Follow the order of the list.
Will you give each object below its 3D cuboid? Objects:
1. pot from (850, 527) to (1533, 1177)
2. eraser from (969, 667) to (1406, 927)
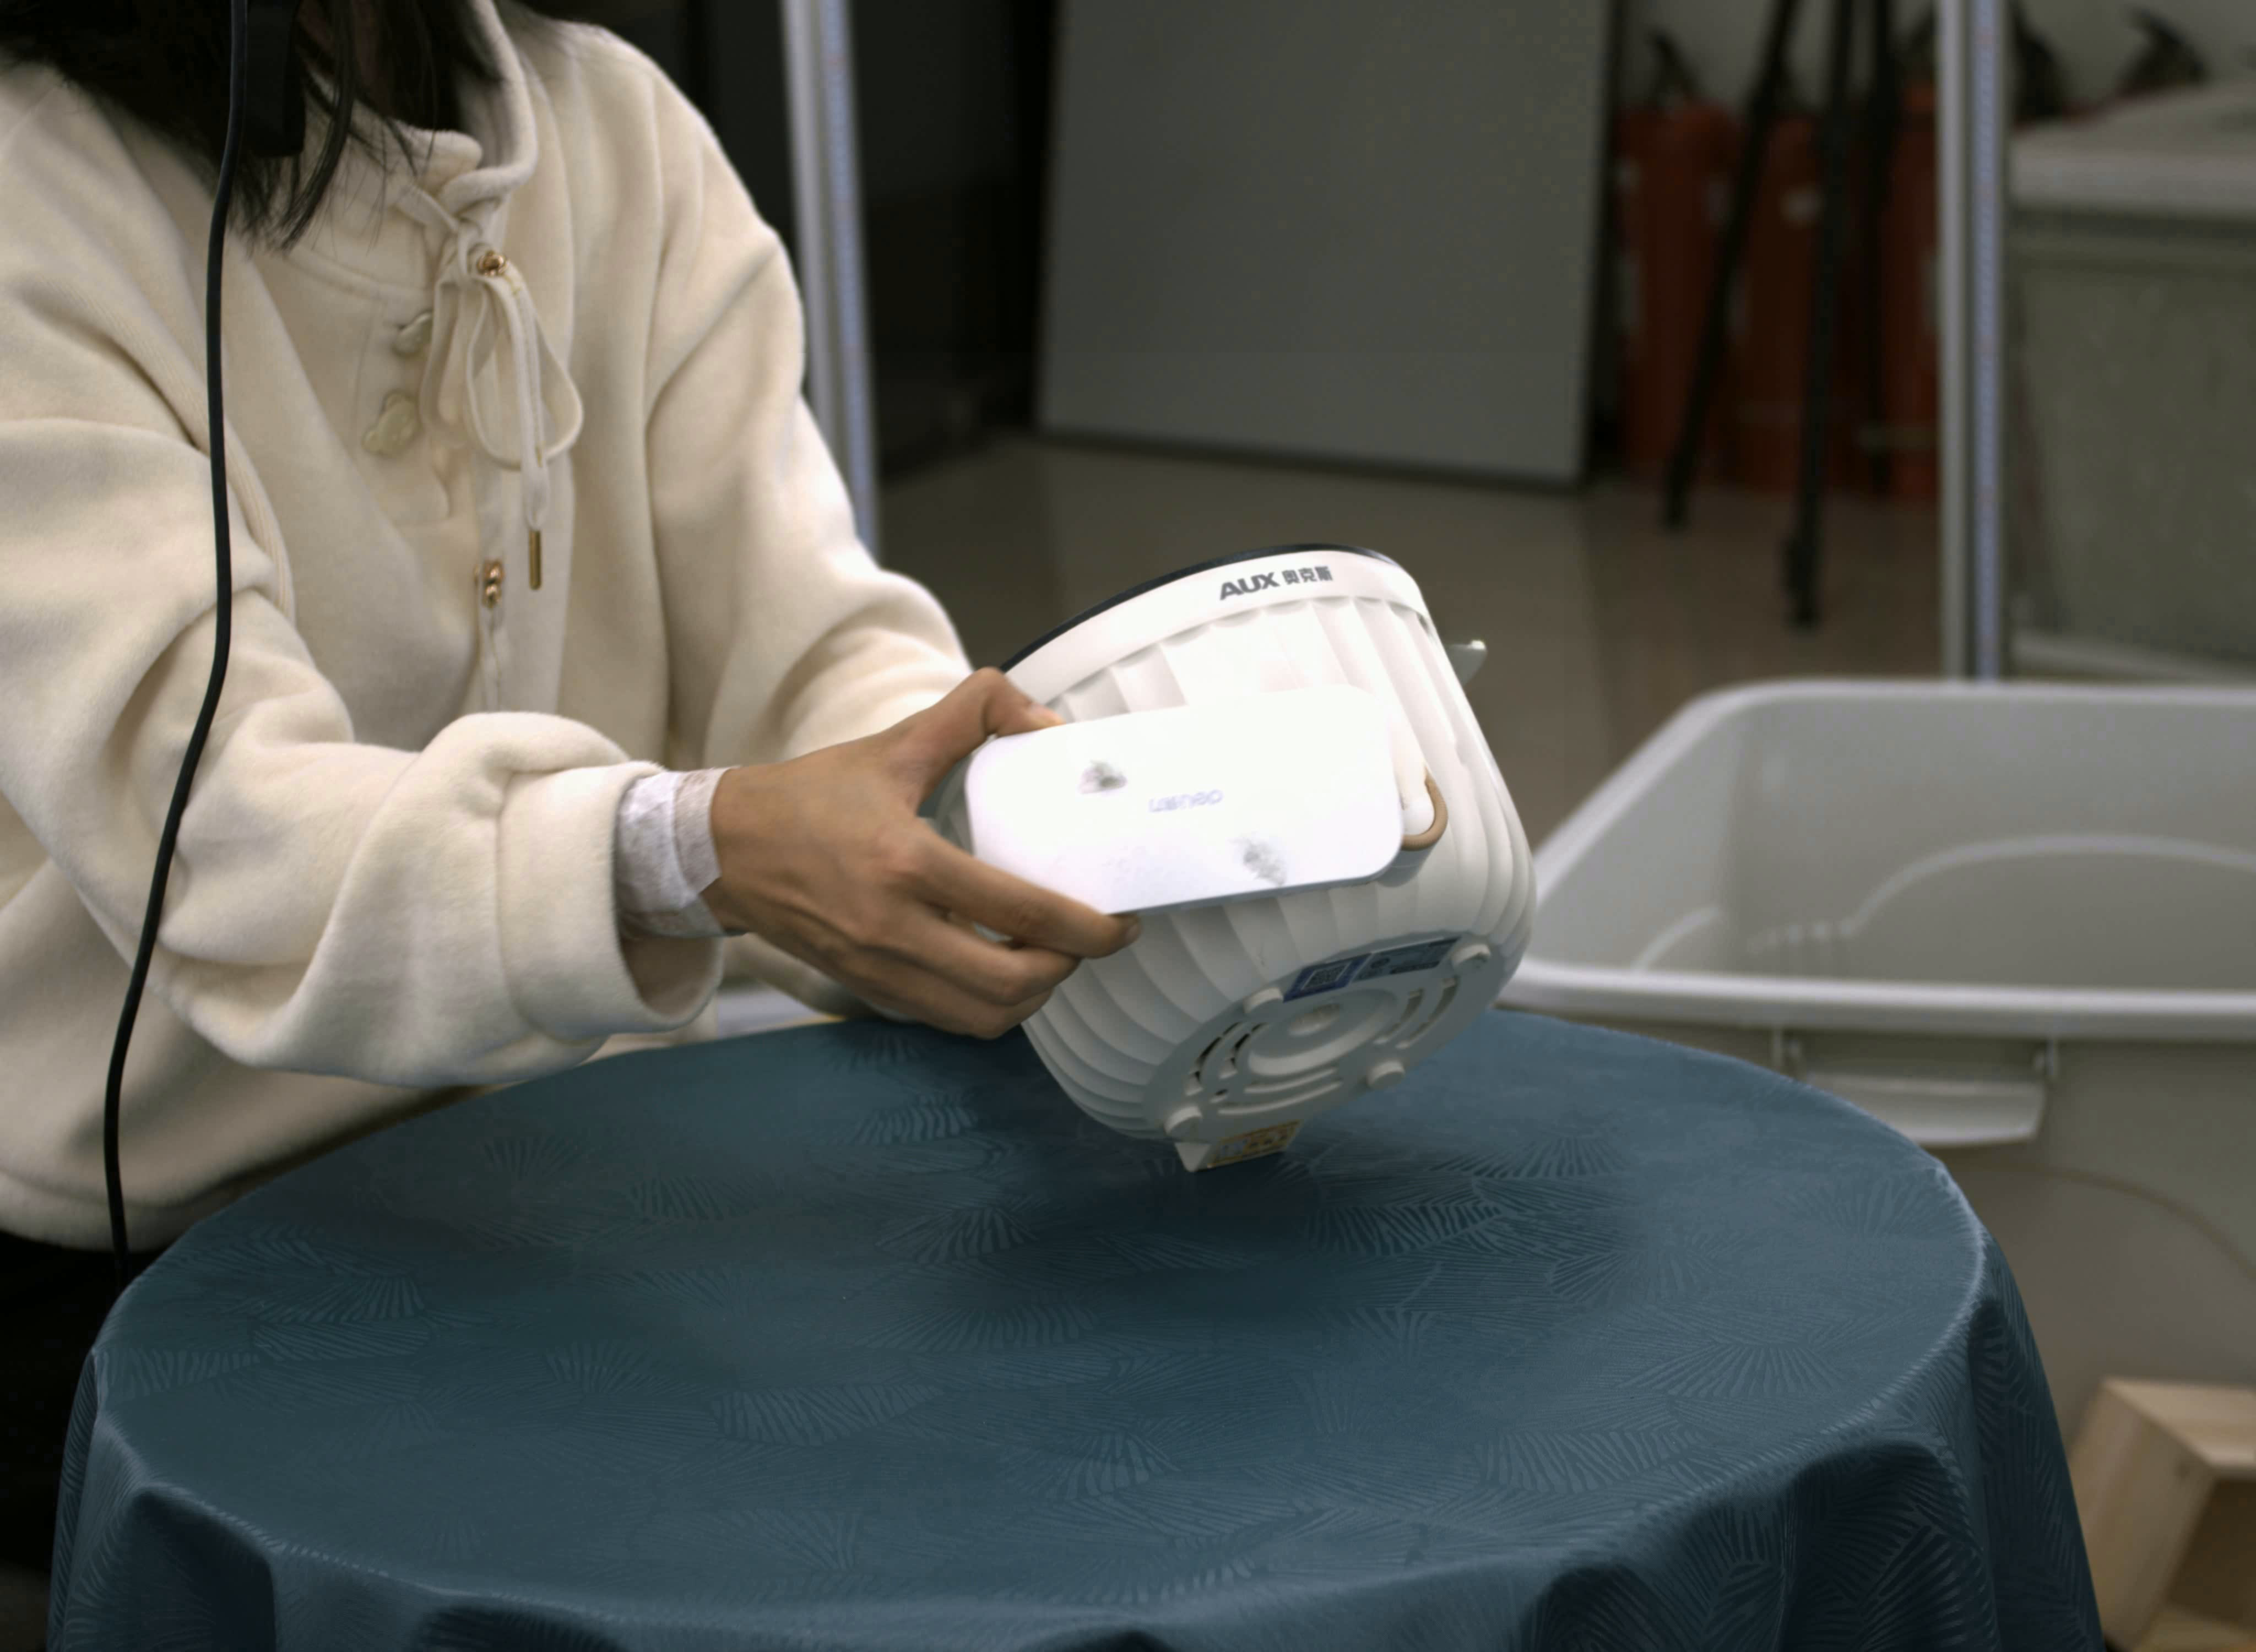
[{"bbox_3d":[0.041,0.009,1.750,0.235,0.192,0.144,-11,58,-28],"label":"pot"},{"bbox_3d":[0.018,-0.009,1.630,0.130,0.064,0.034,-9,-16,5],"label":"eraser"}]
